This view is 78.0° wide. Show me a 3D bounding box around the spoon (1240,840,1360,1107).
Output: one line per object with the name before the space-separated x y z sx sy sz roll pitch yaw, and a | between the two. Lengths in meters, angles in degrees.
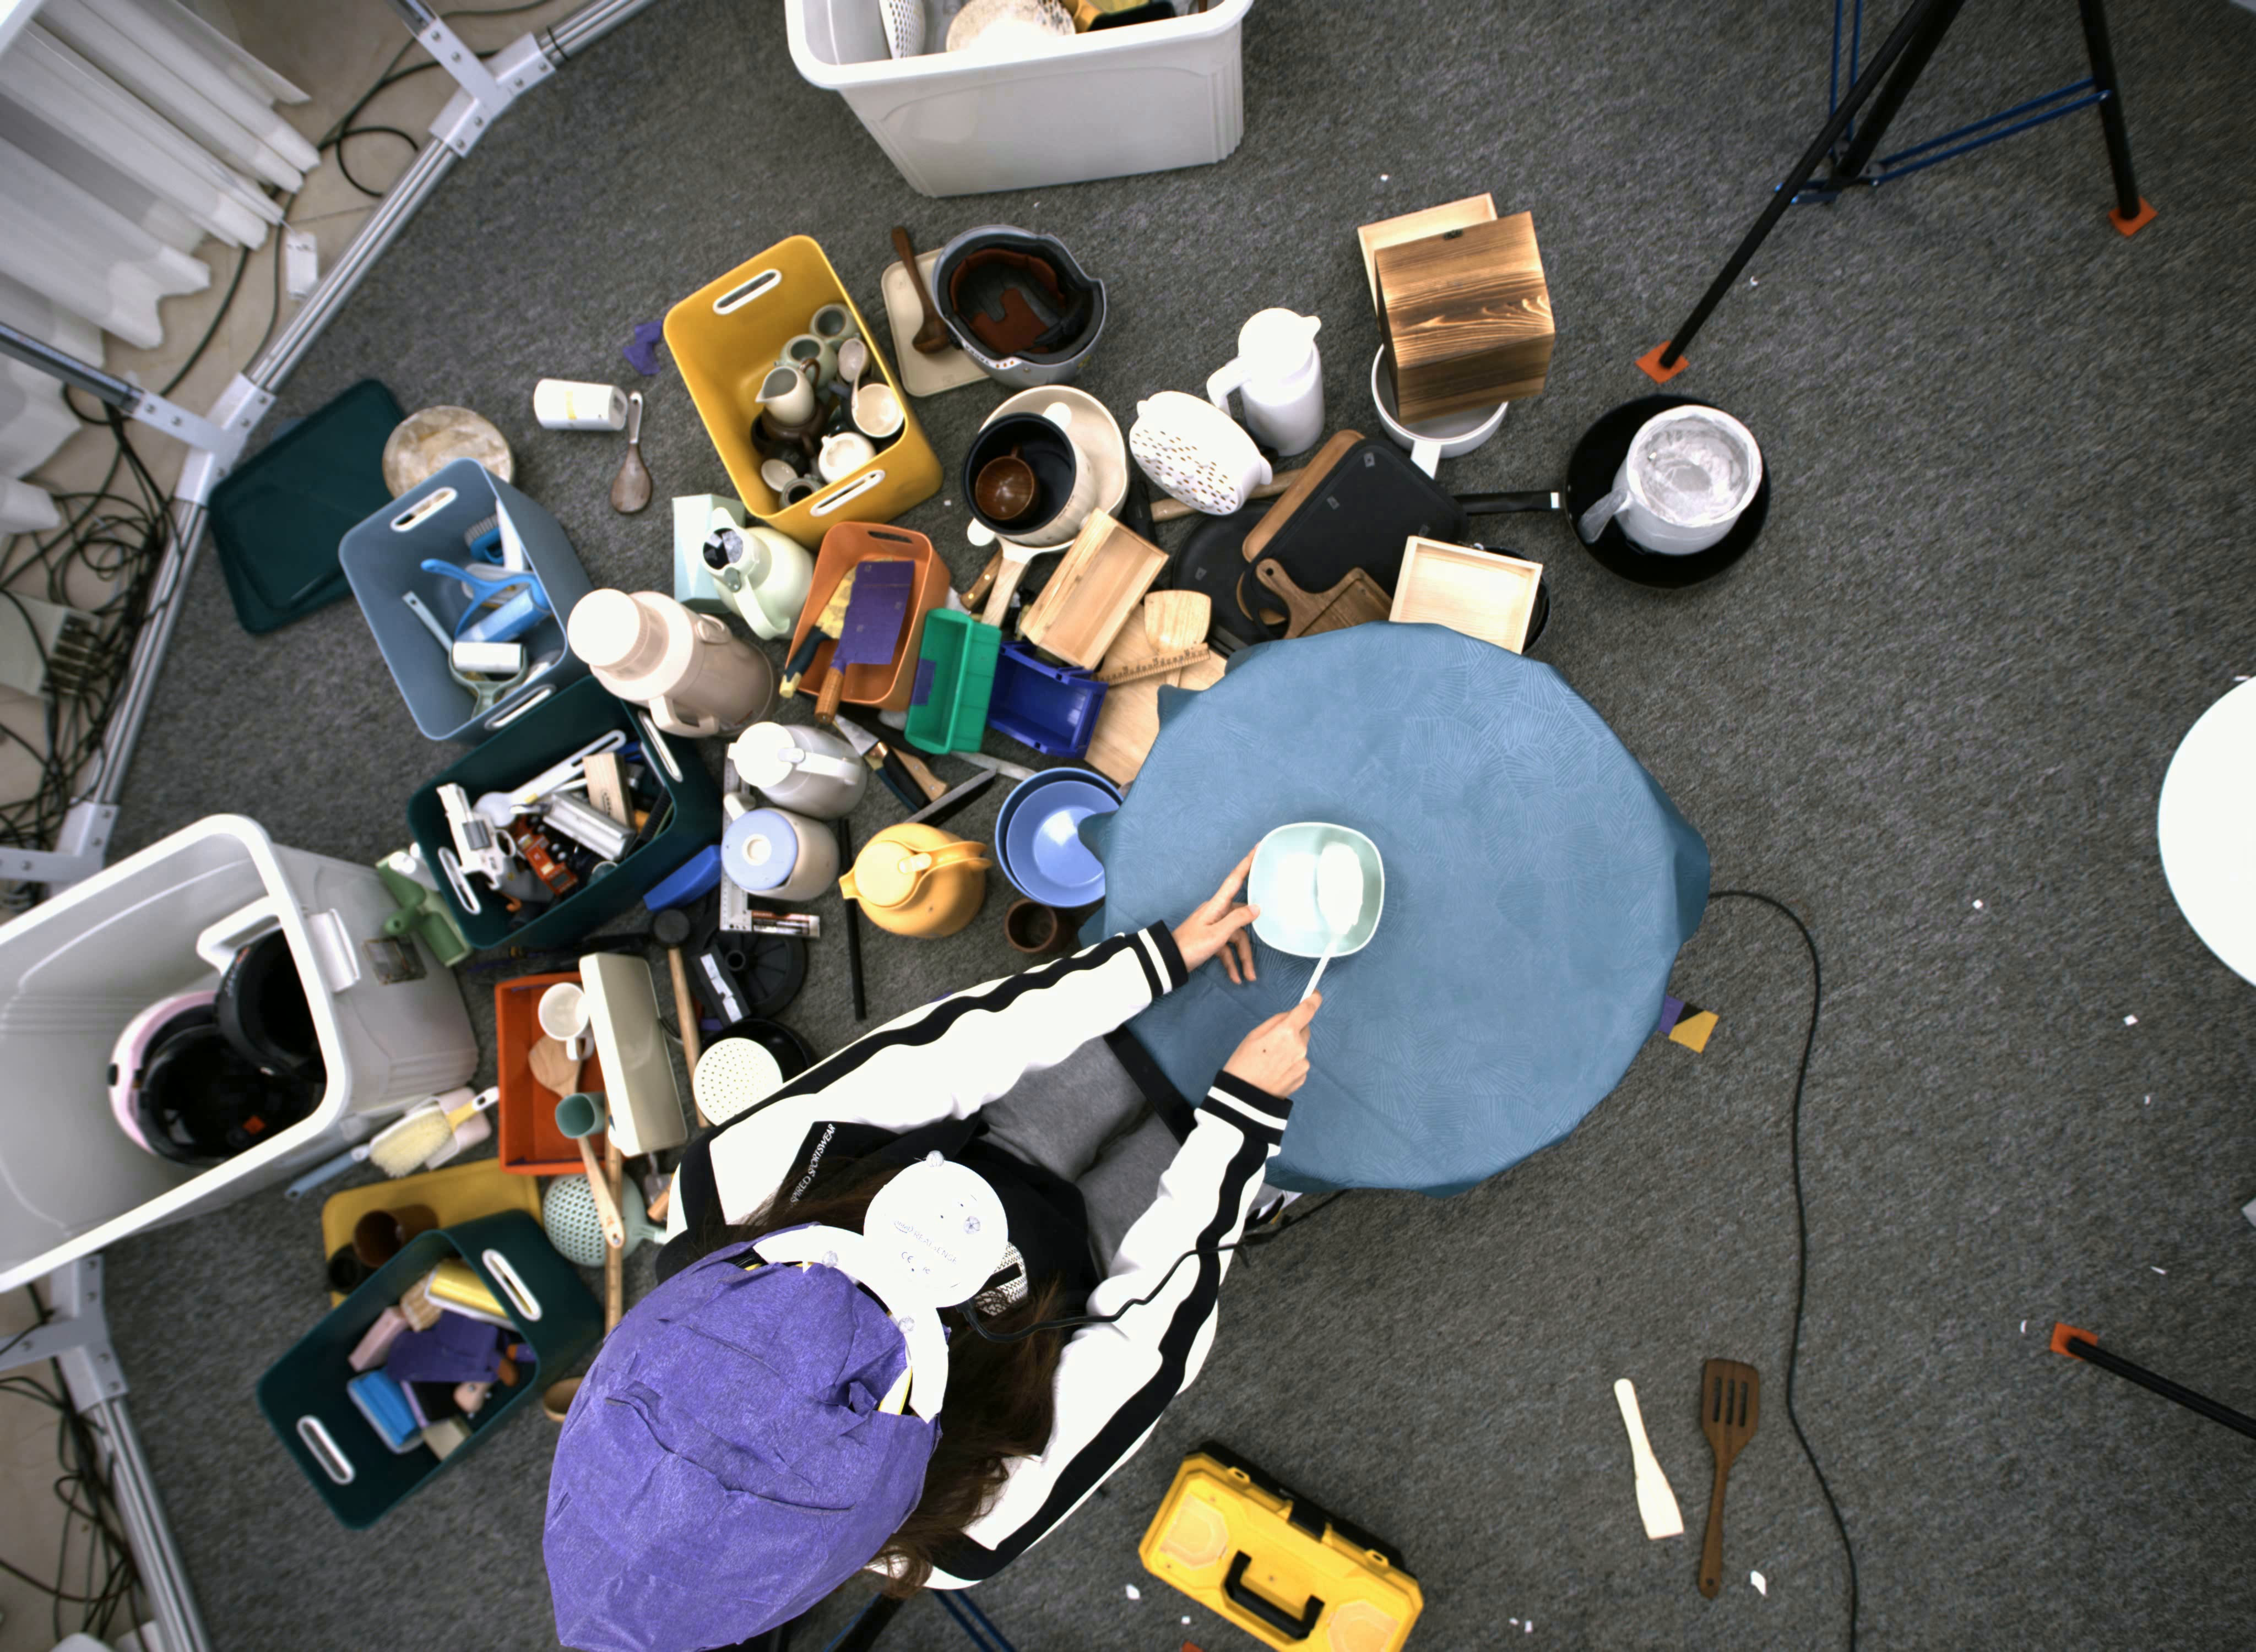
spoon | 0.161 0.146 1.394 0.059 0.101 0.276 31 86 -10

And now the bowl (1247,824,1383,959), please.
bowl | 0.196 0.069 1.447 0.152 0.059 0.150 -1 86 10
